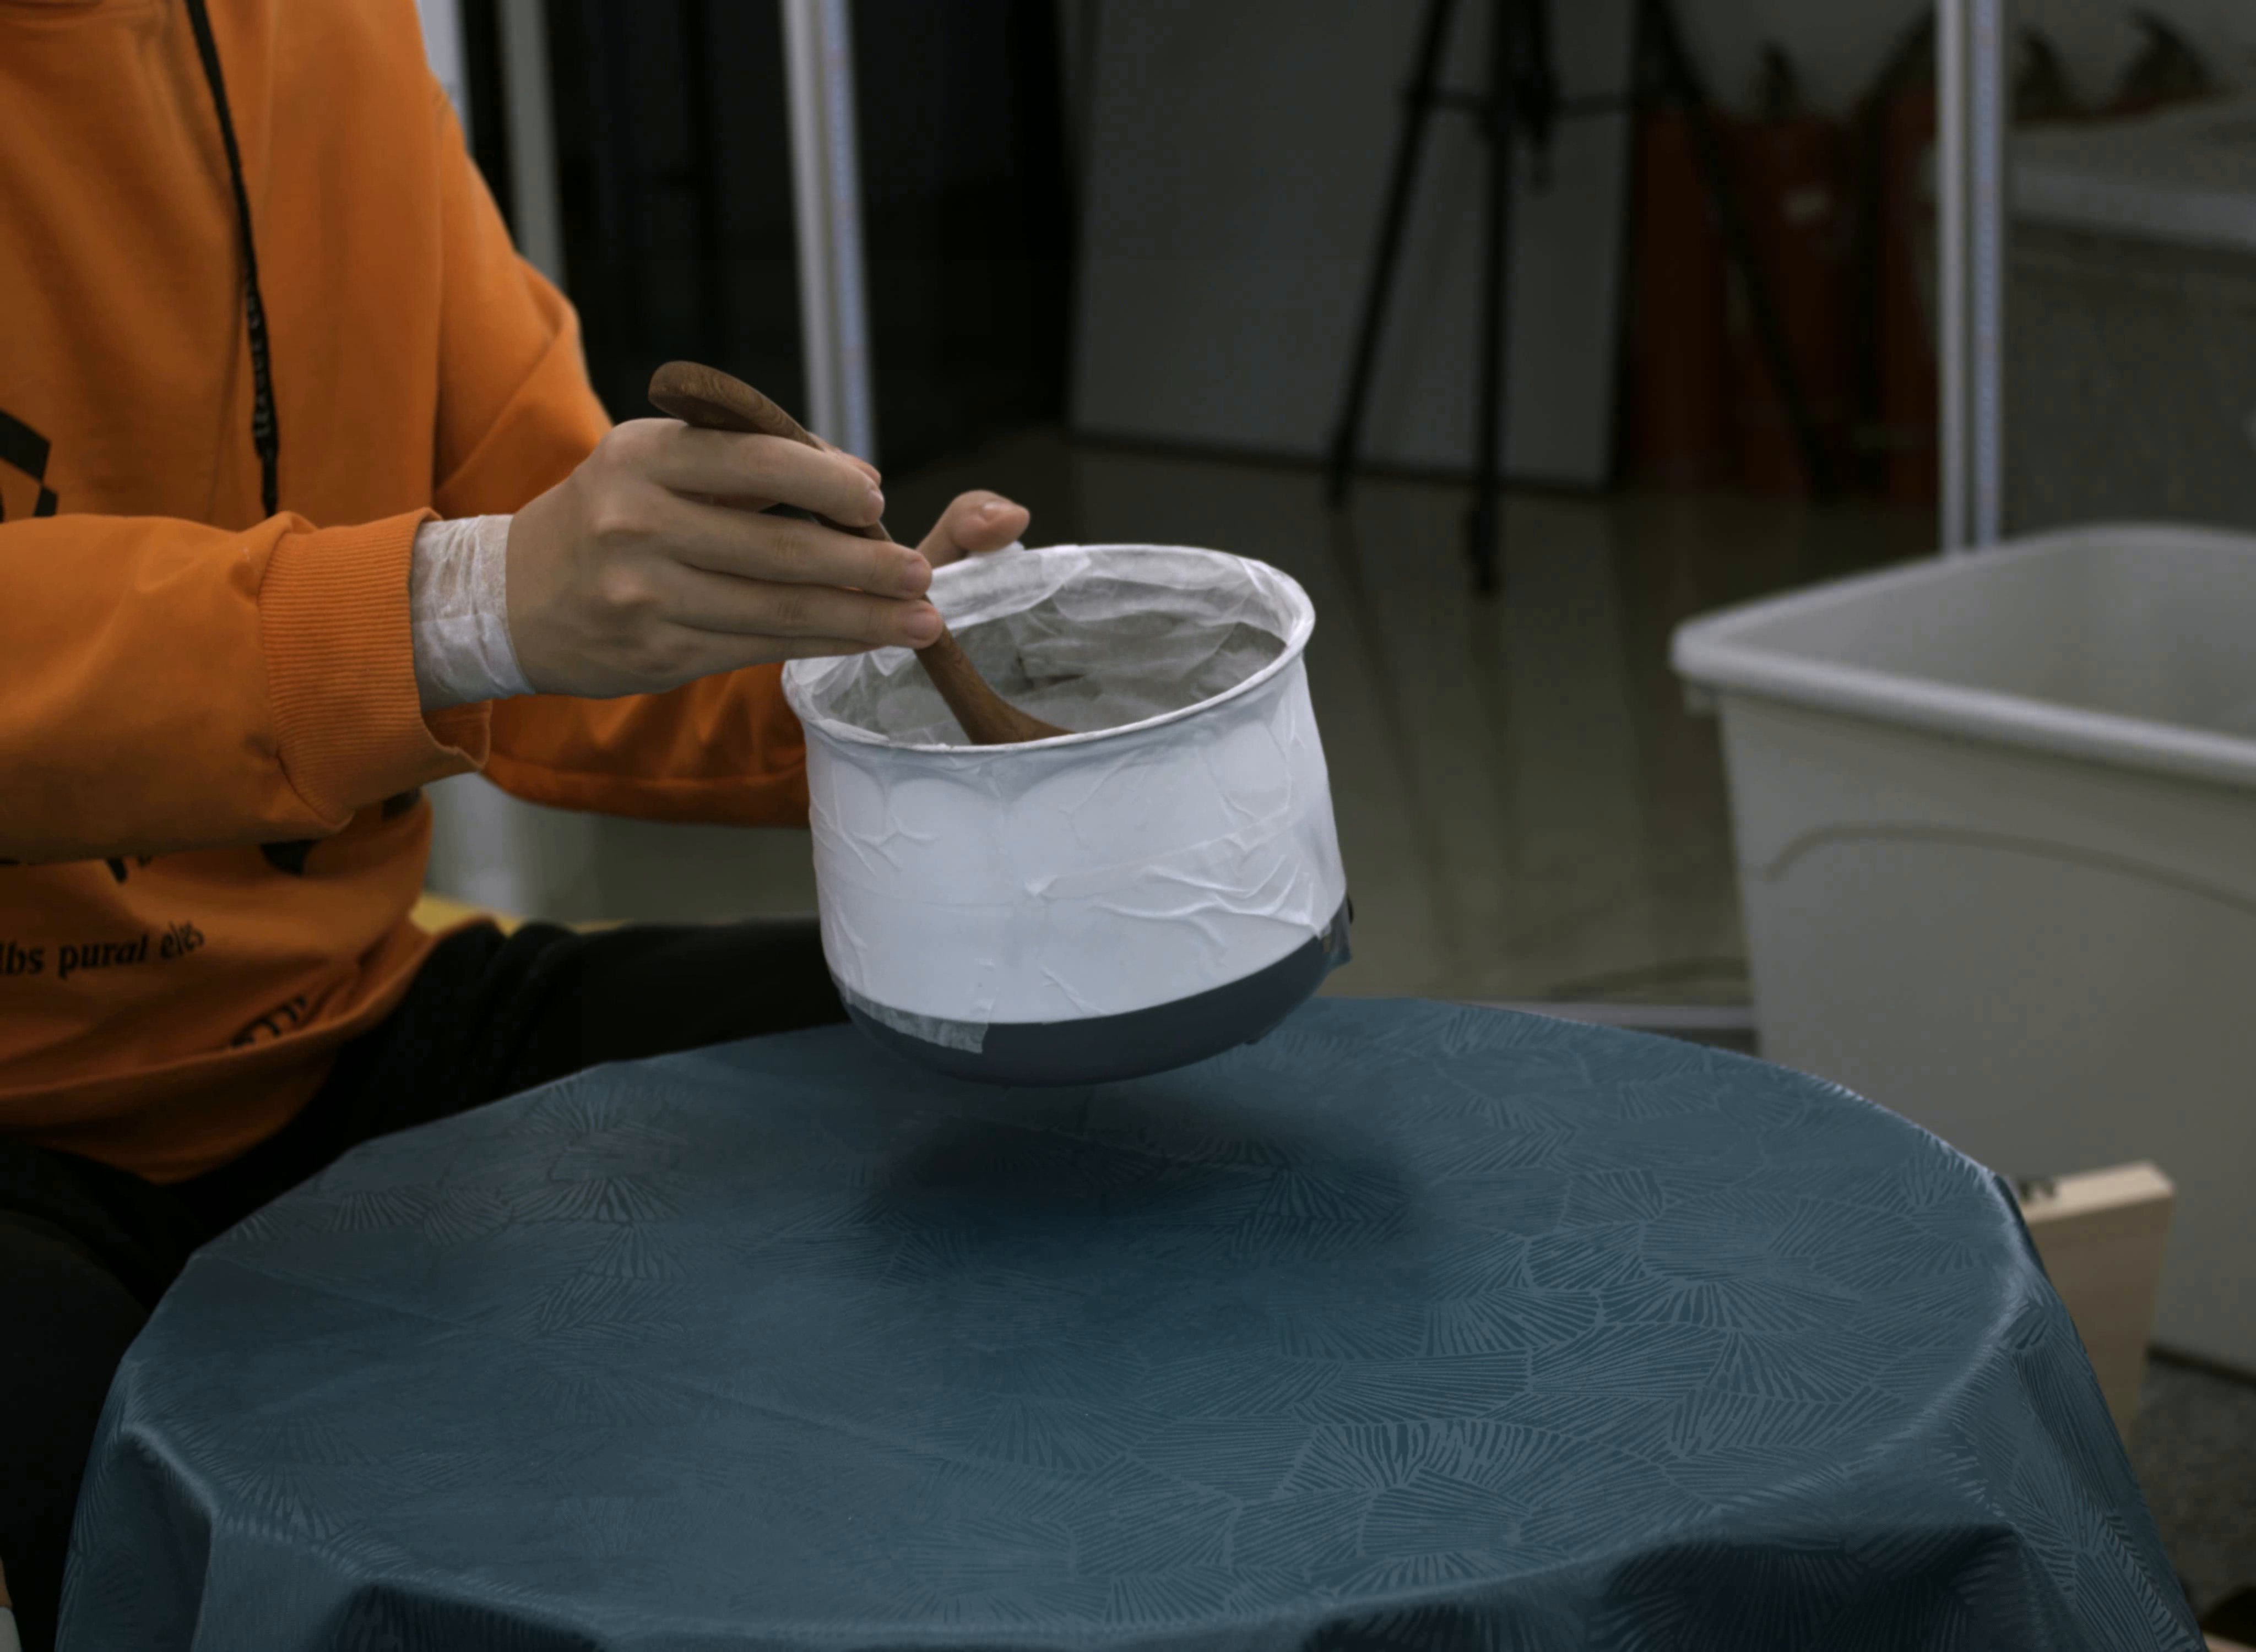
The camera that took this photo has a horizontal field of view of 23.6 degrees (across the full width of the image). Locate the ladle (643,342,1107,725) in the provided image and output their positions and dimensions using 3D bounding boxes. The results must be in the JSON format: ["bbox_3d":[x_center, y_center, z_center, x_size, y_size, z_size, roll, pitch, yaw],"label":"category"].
[{"bbox_3d":[-0.062,-0.082,1.747,0.077,0.258,0.065,-15,39,41],"label":"ladle"}]

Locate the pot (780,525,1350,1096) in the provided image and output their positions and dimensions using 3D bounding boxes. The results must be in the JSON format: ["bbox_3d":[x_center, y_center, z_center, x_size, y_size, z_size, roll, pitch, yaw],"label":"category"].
[{"bbox_3d":[-0.025,-0.013,1.803,0.176,0.138,0.235,-11,23,-8],"label":"pot"}]
